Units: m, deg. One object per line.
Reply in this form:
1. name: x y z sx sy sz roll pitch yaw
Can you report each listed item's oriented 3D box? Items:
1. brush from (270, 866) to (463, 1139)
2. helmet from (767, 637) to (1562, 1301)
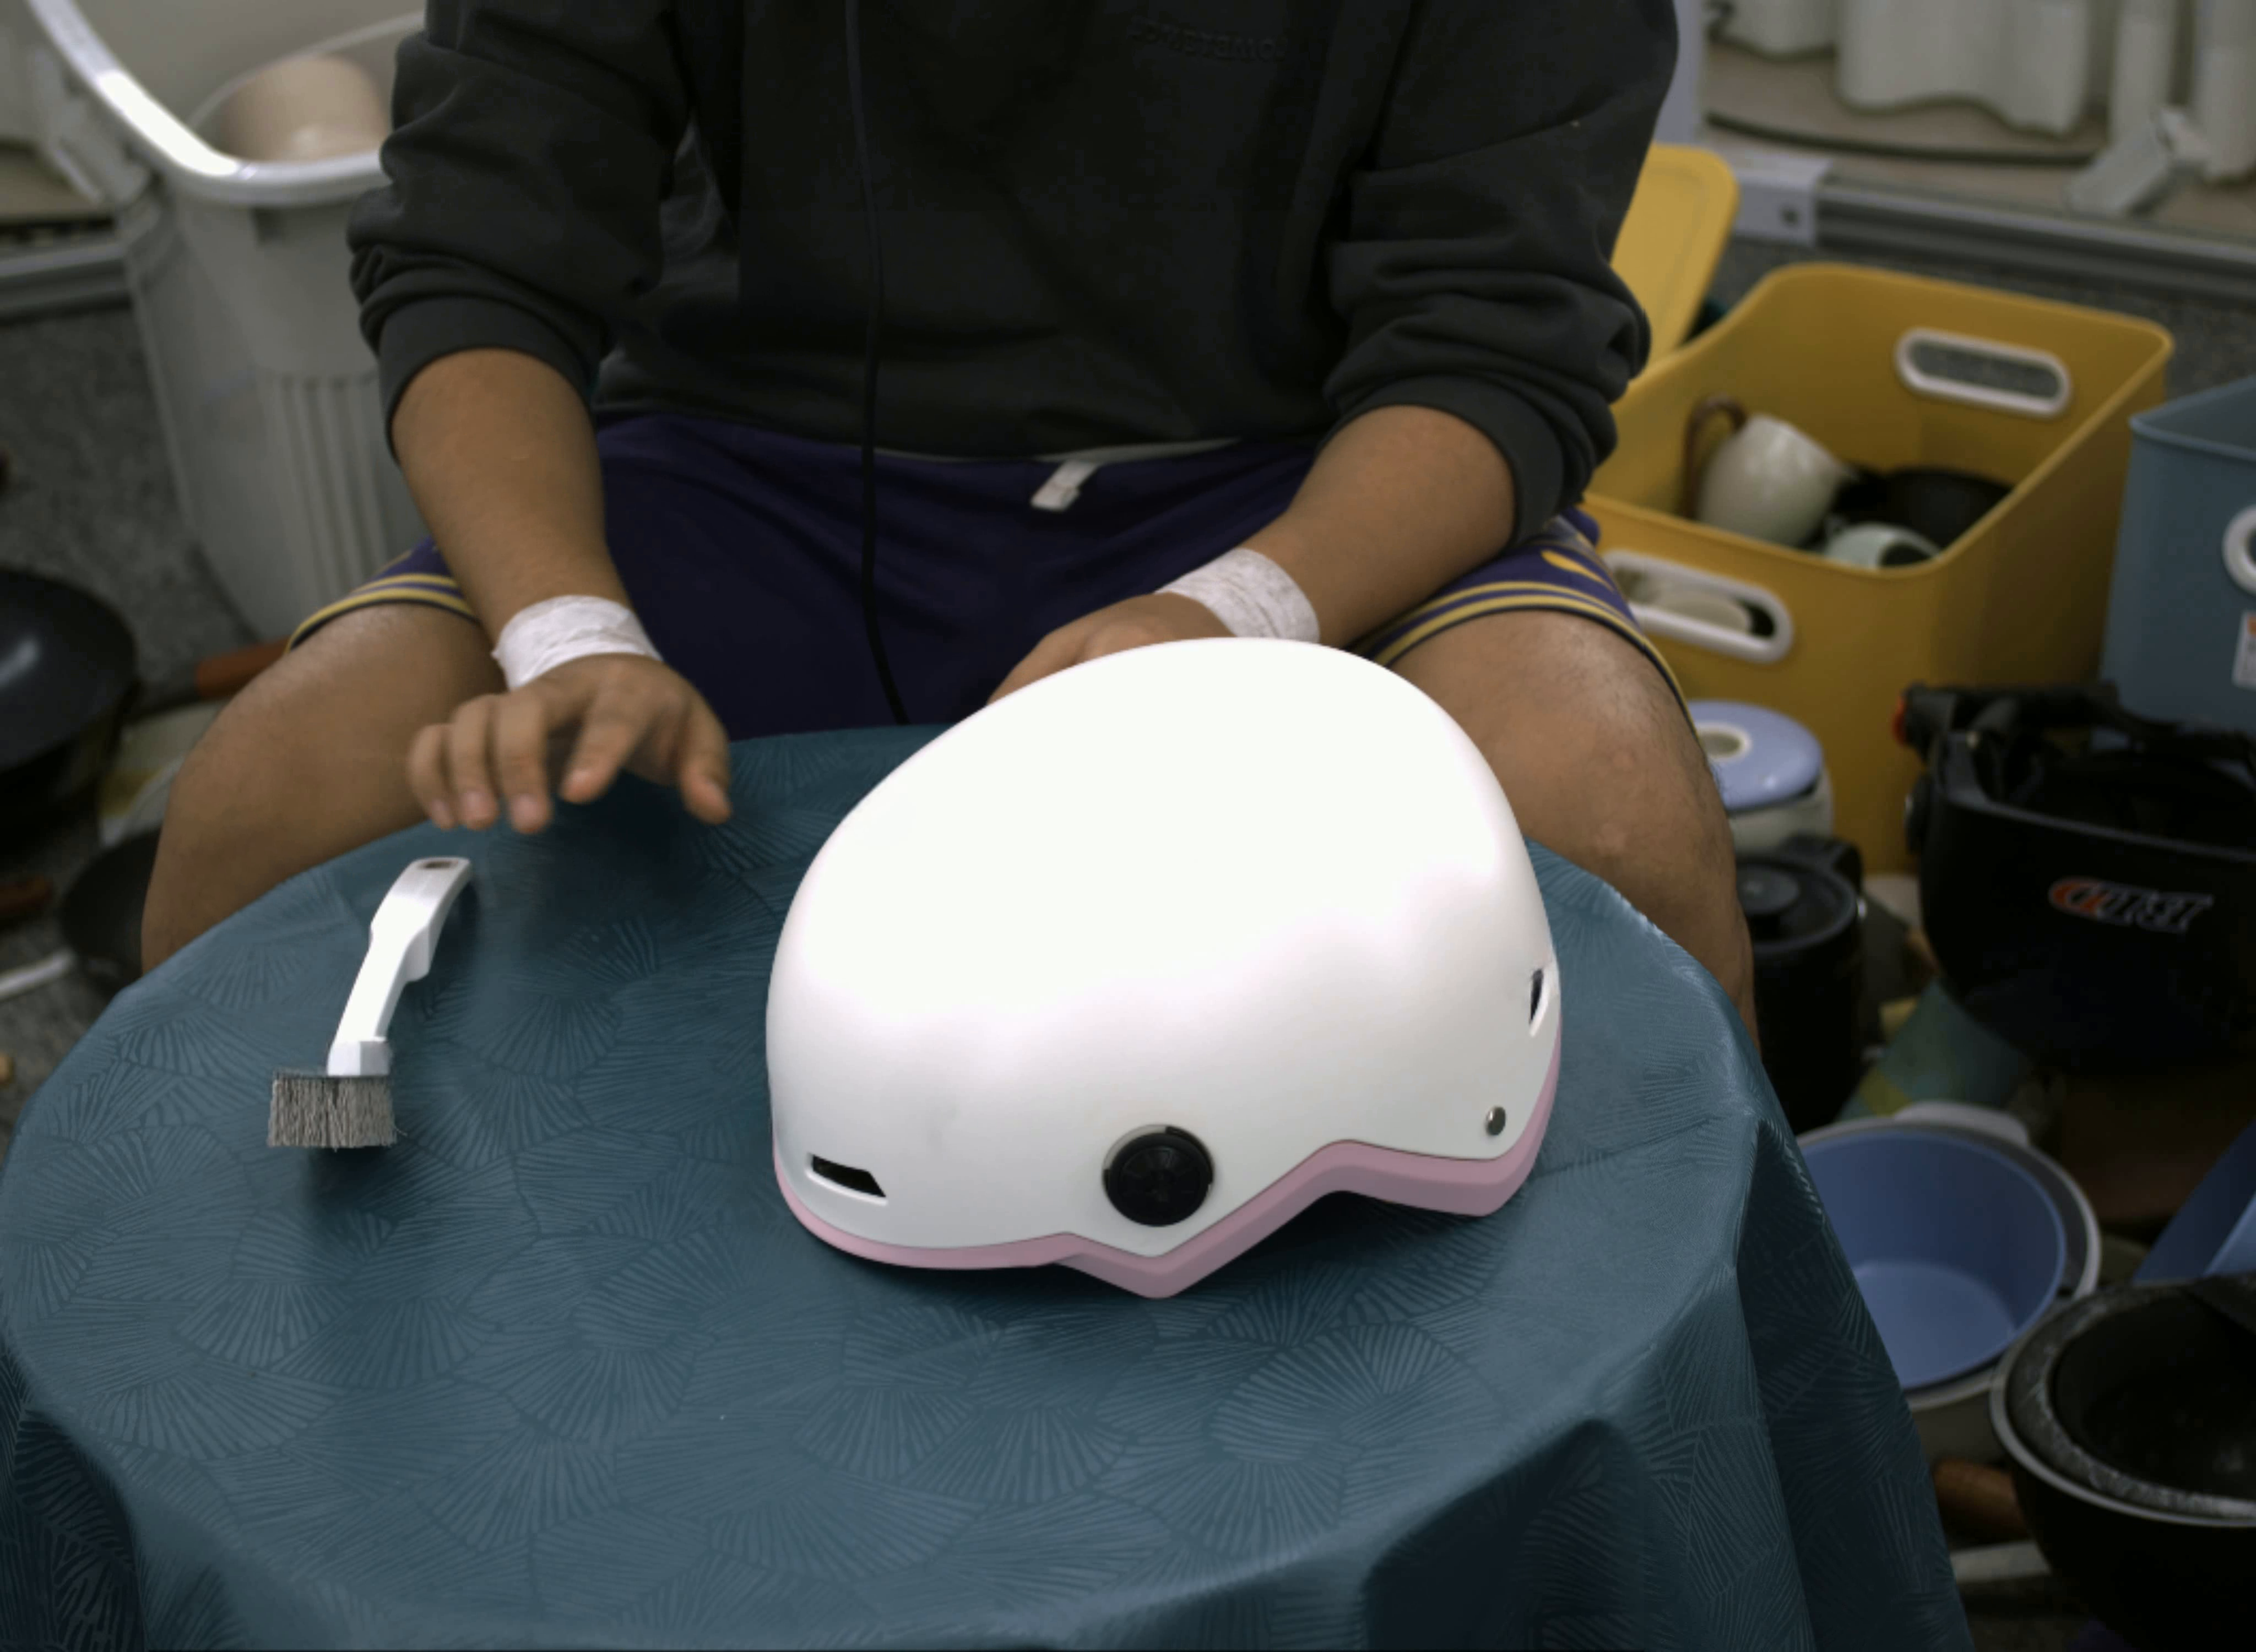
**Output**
1. brush: -0.263 0.066 1.972 0.034 0.050 0.246 -2 14 3
2. helmet: 0.009 0.031 1.862 0.268 0.165 0.240 -8 28 -8
